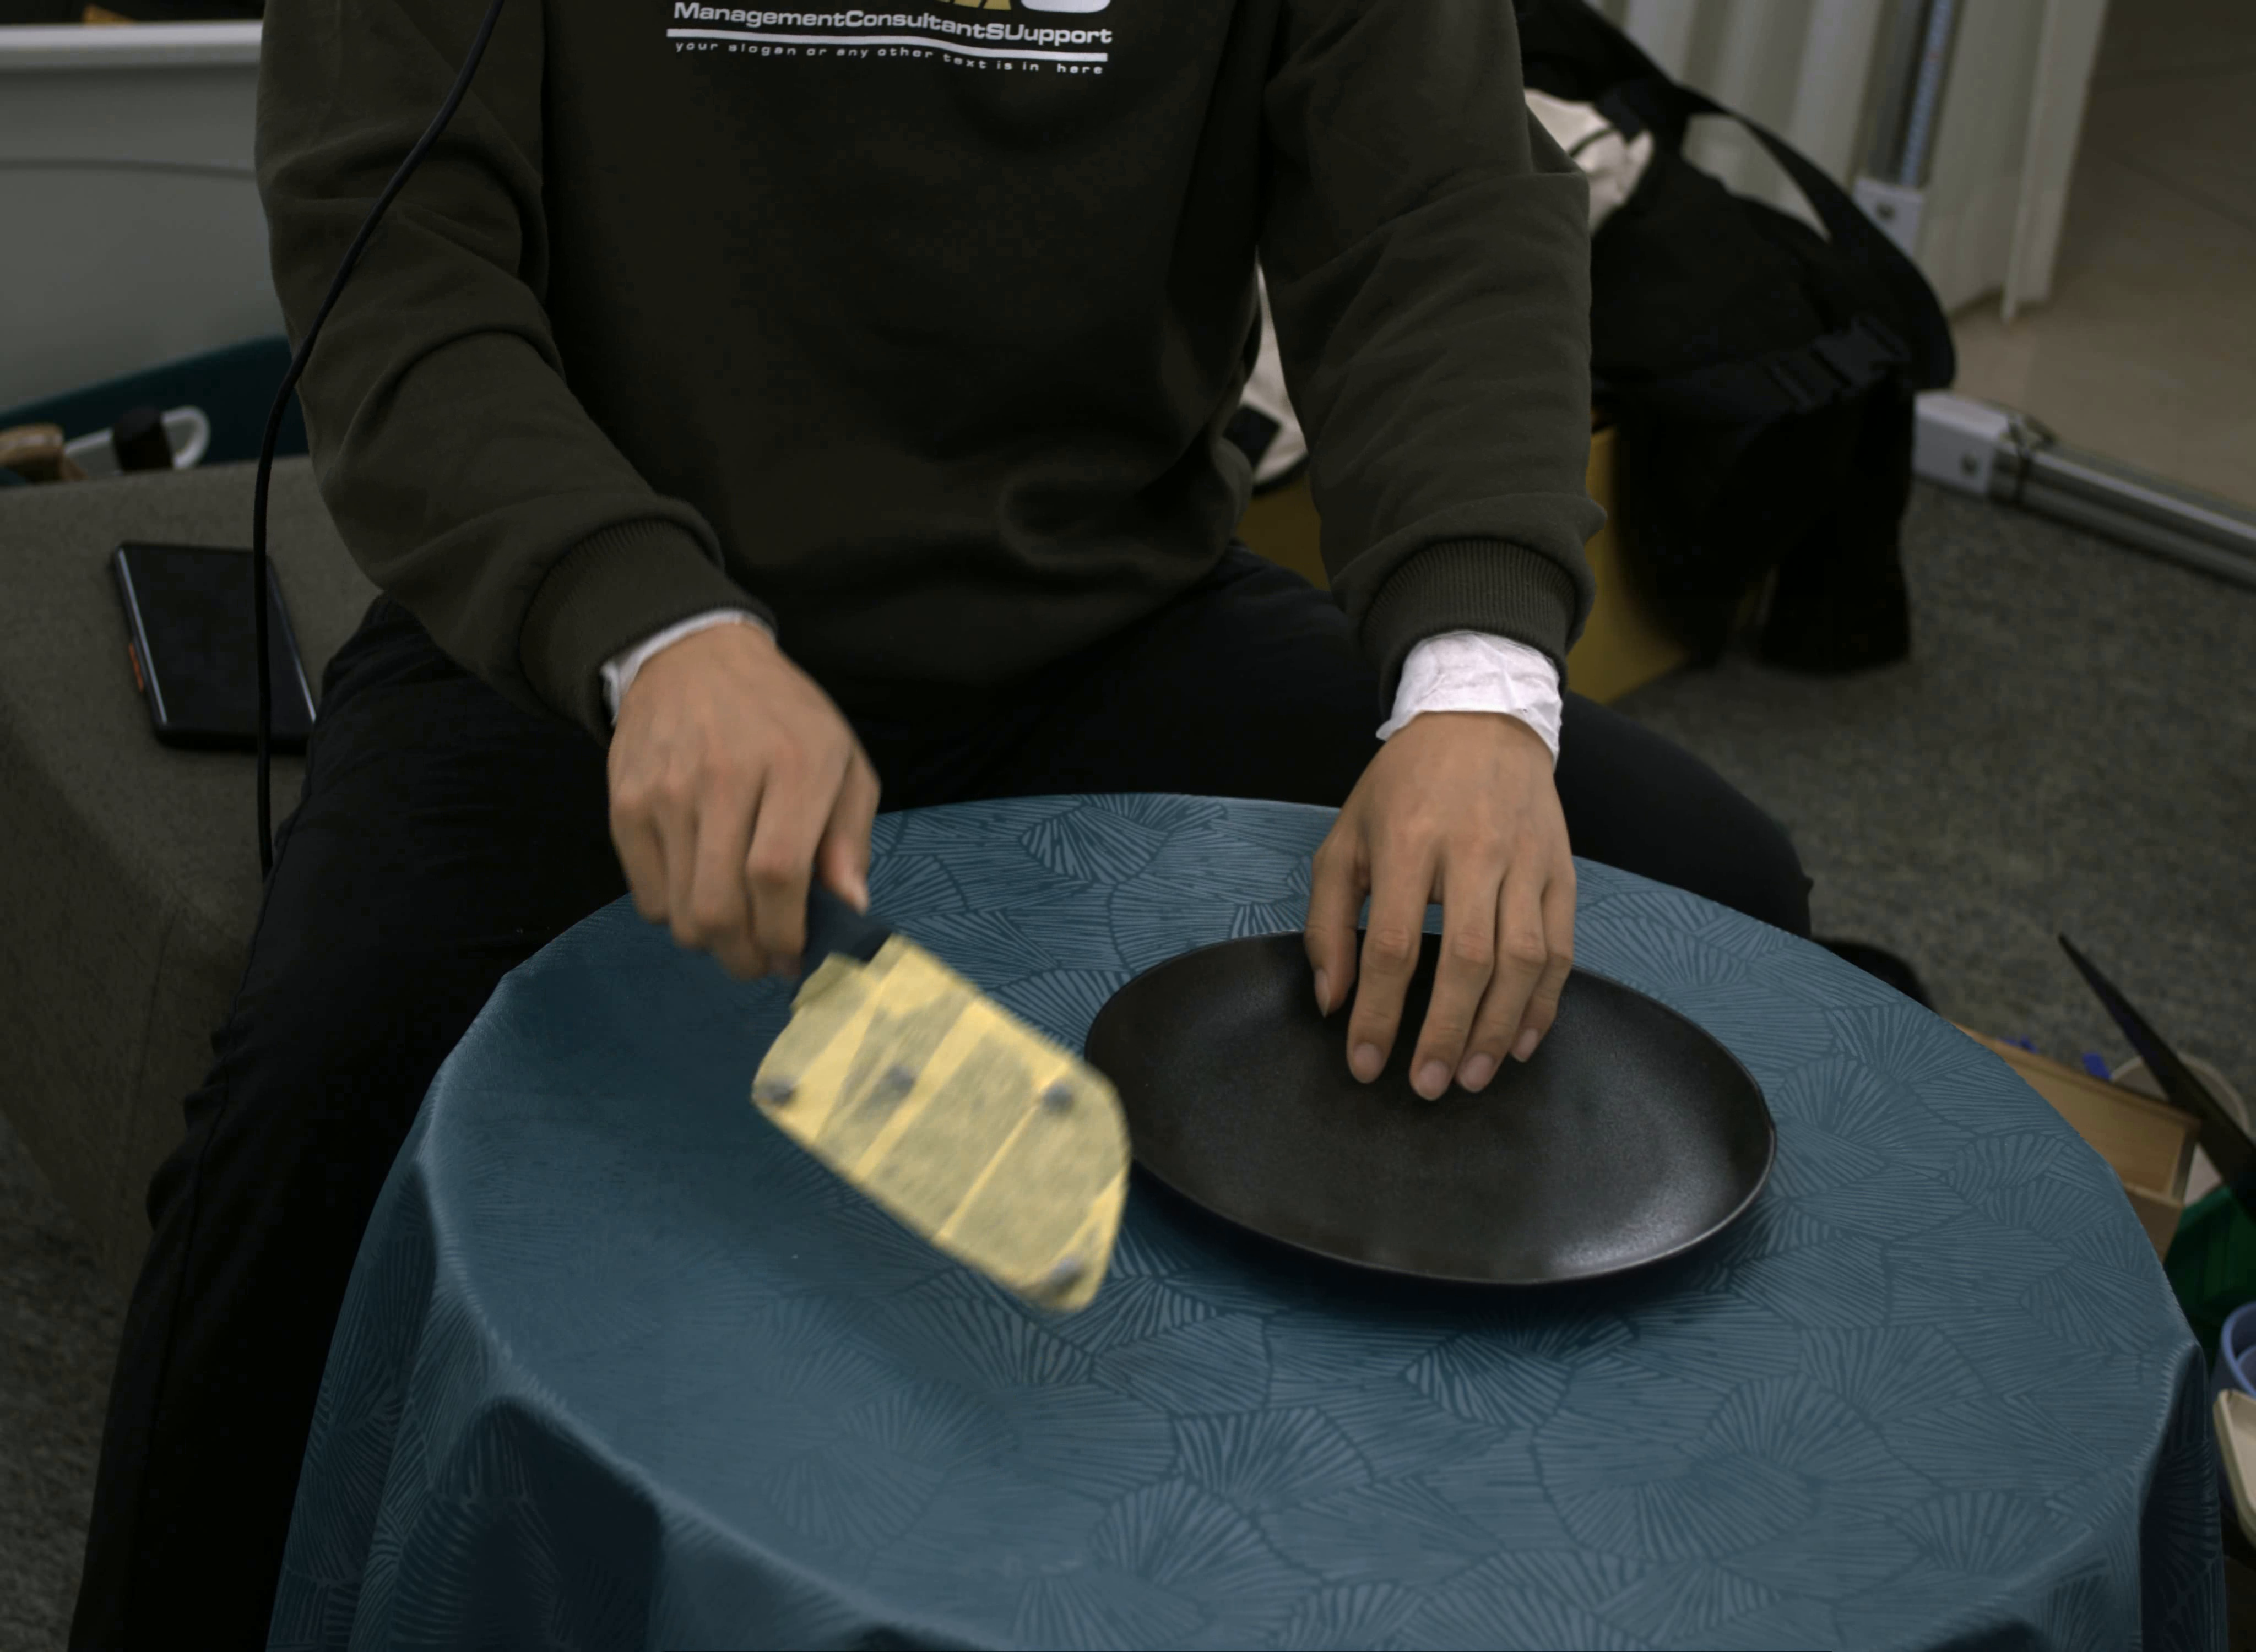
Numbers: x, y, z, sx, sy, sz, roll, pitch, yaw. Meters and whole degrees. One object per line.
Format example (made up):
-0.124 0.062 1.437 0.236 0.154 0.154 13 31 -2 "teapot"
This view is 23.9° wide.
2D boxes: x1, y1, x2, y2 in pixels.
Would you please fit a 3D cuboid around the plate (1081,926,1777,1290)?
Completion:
0.103 0.102 1.847 0.243 0.023 0.246 5 27 -3 "plate"

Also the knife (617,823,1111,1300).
-0.095 0.075 1.751 0.081 0.027 0.292 -48 45 -4 "knife"
